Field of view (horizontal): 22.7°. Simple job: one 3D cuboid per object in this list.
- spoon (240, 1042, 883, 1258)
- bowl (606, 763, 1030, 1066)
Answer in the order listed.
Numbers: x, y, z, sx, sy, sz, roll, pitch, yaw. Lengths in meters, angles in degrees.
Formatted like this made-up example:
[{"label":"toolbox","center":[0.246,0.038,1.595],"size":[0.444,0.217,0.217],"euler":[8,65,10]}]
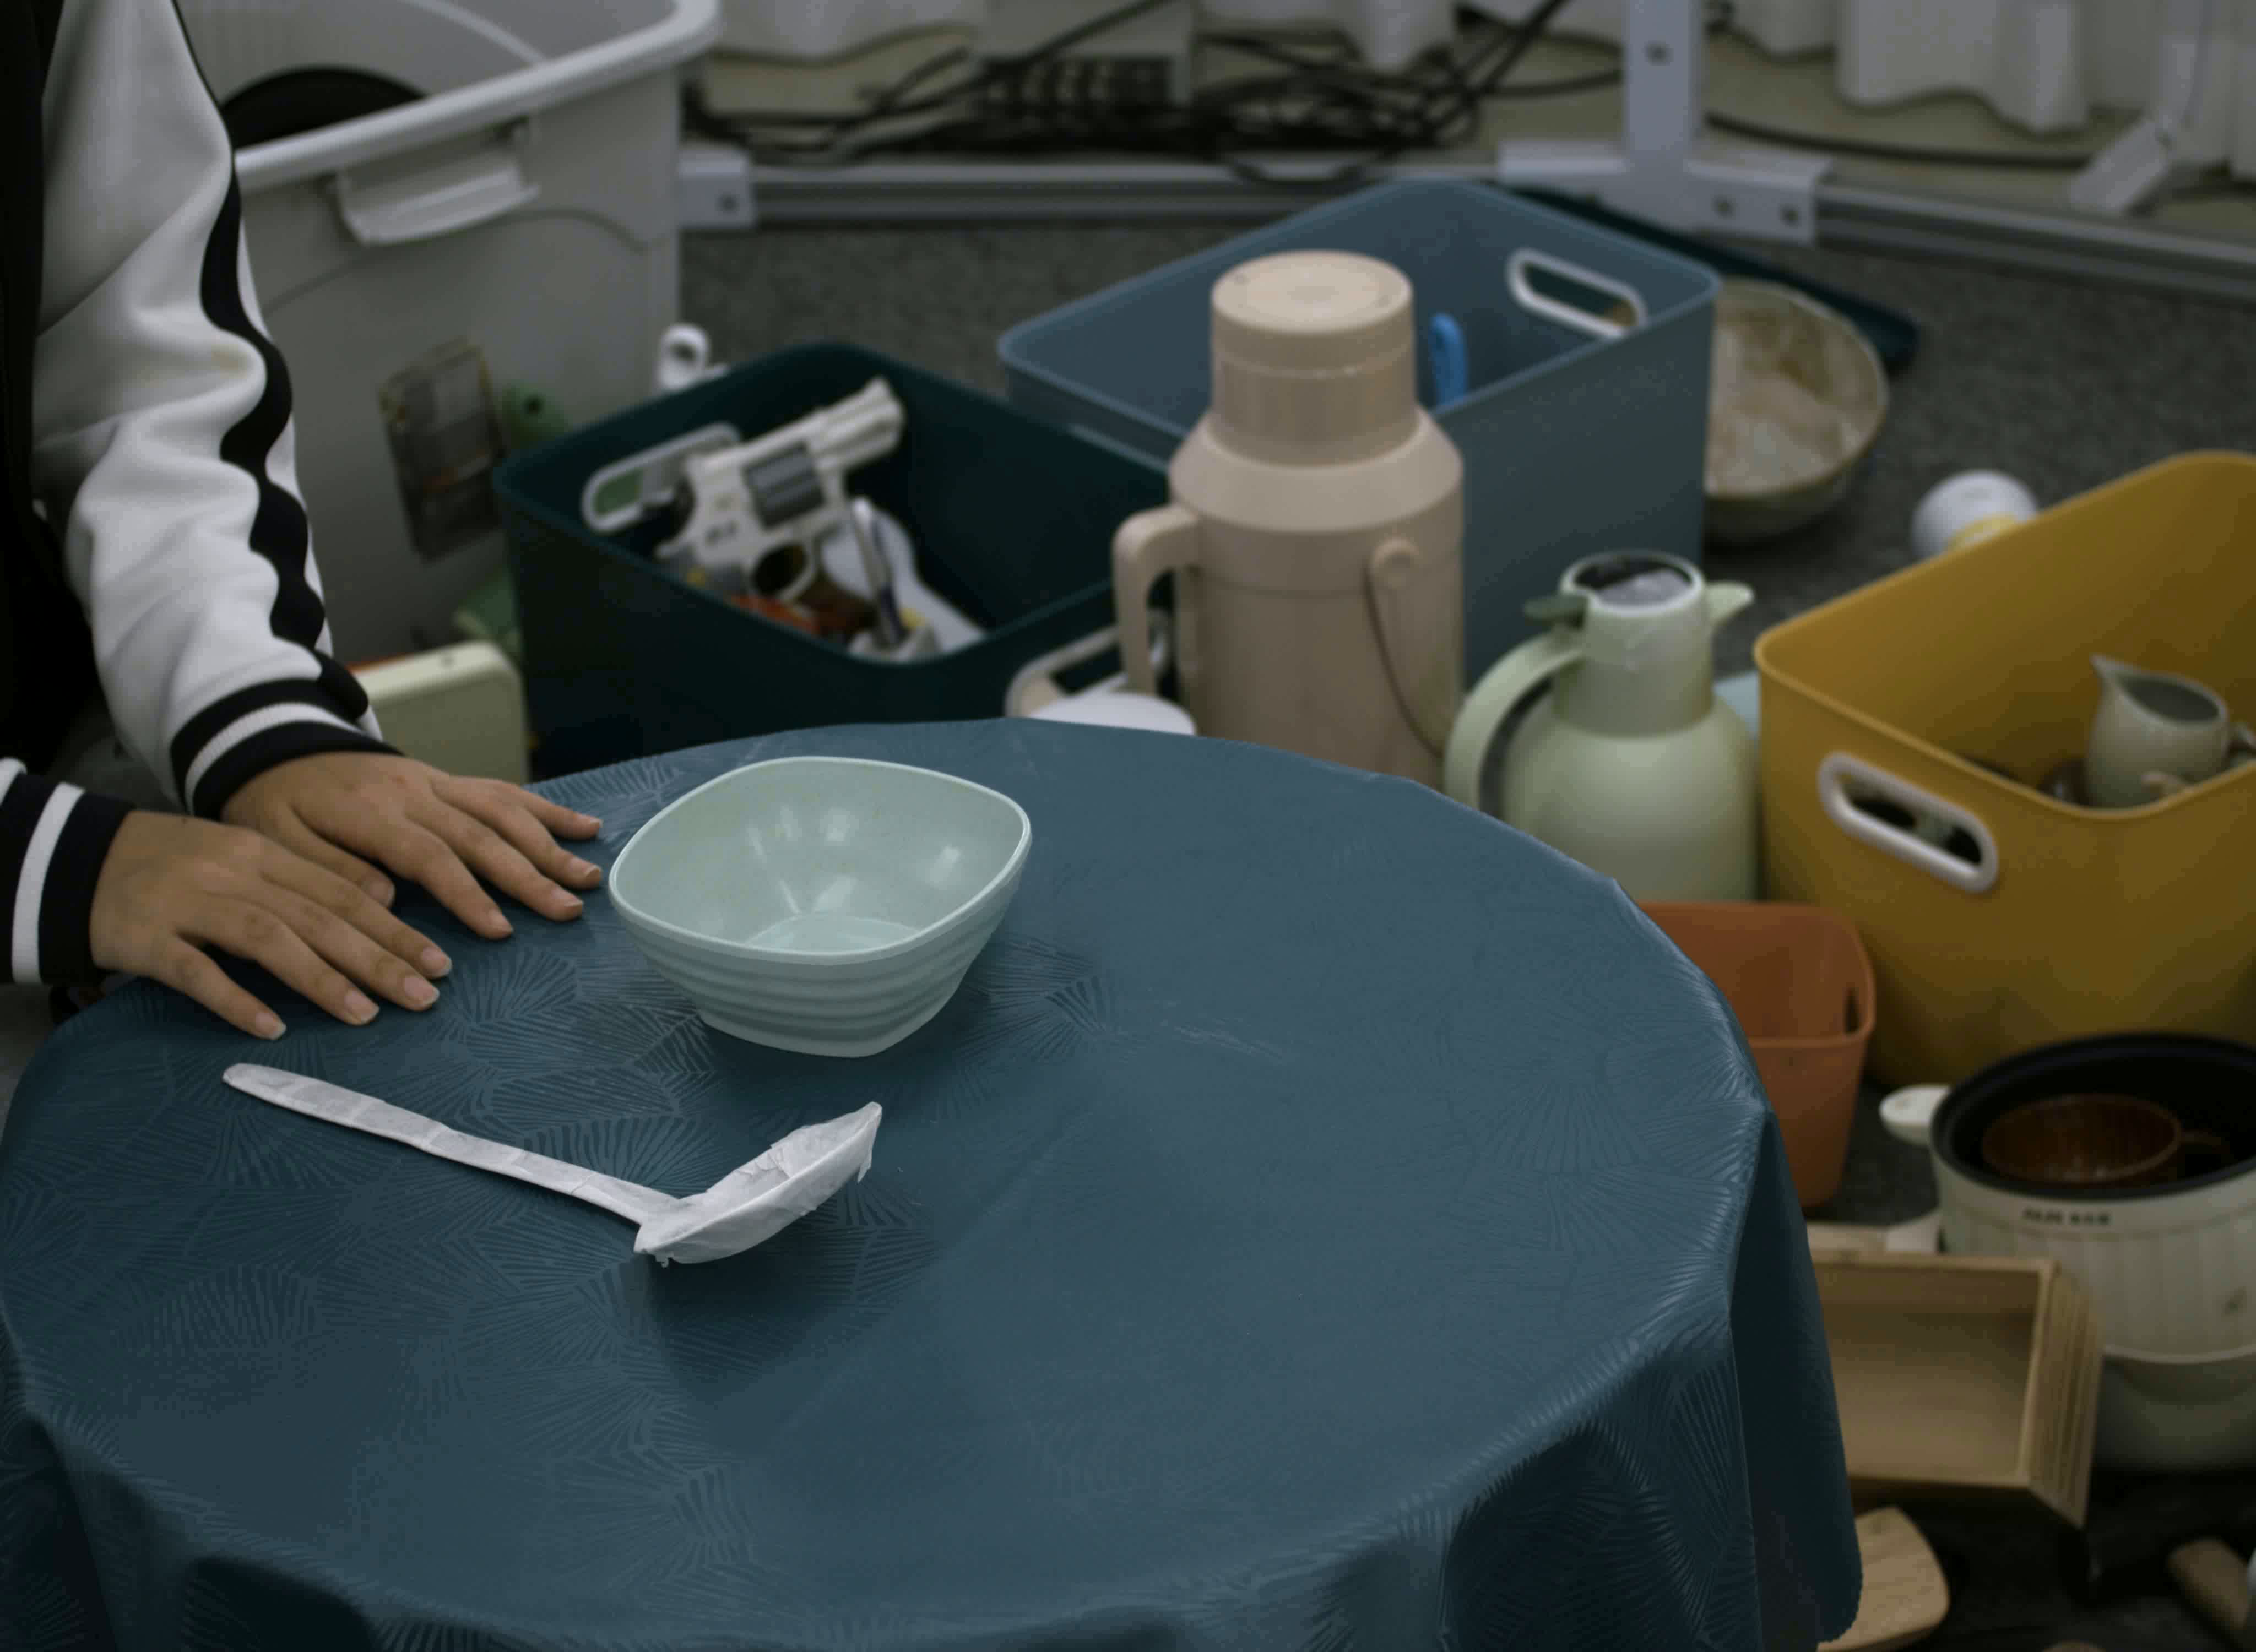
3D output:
[{"label":"spoon","center":[-0.197,0.089,1.883],"size":[0.276,0.059,0.102],"euler":[18,29,34]},{"label":"bowl","center":[-0.107,0.037,1.980],"size":[0.151,0.058,0.154],"euler":[-2,27,1]}]
